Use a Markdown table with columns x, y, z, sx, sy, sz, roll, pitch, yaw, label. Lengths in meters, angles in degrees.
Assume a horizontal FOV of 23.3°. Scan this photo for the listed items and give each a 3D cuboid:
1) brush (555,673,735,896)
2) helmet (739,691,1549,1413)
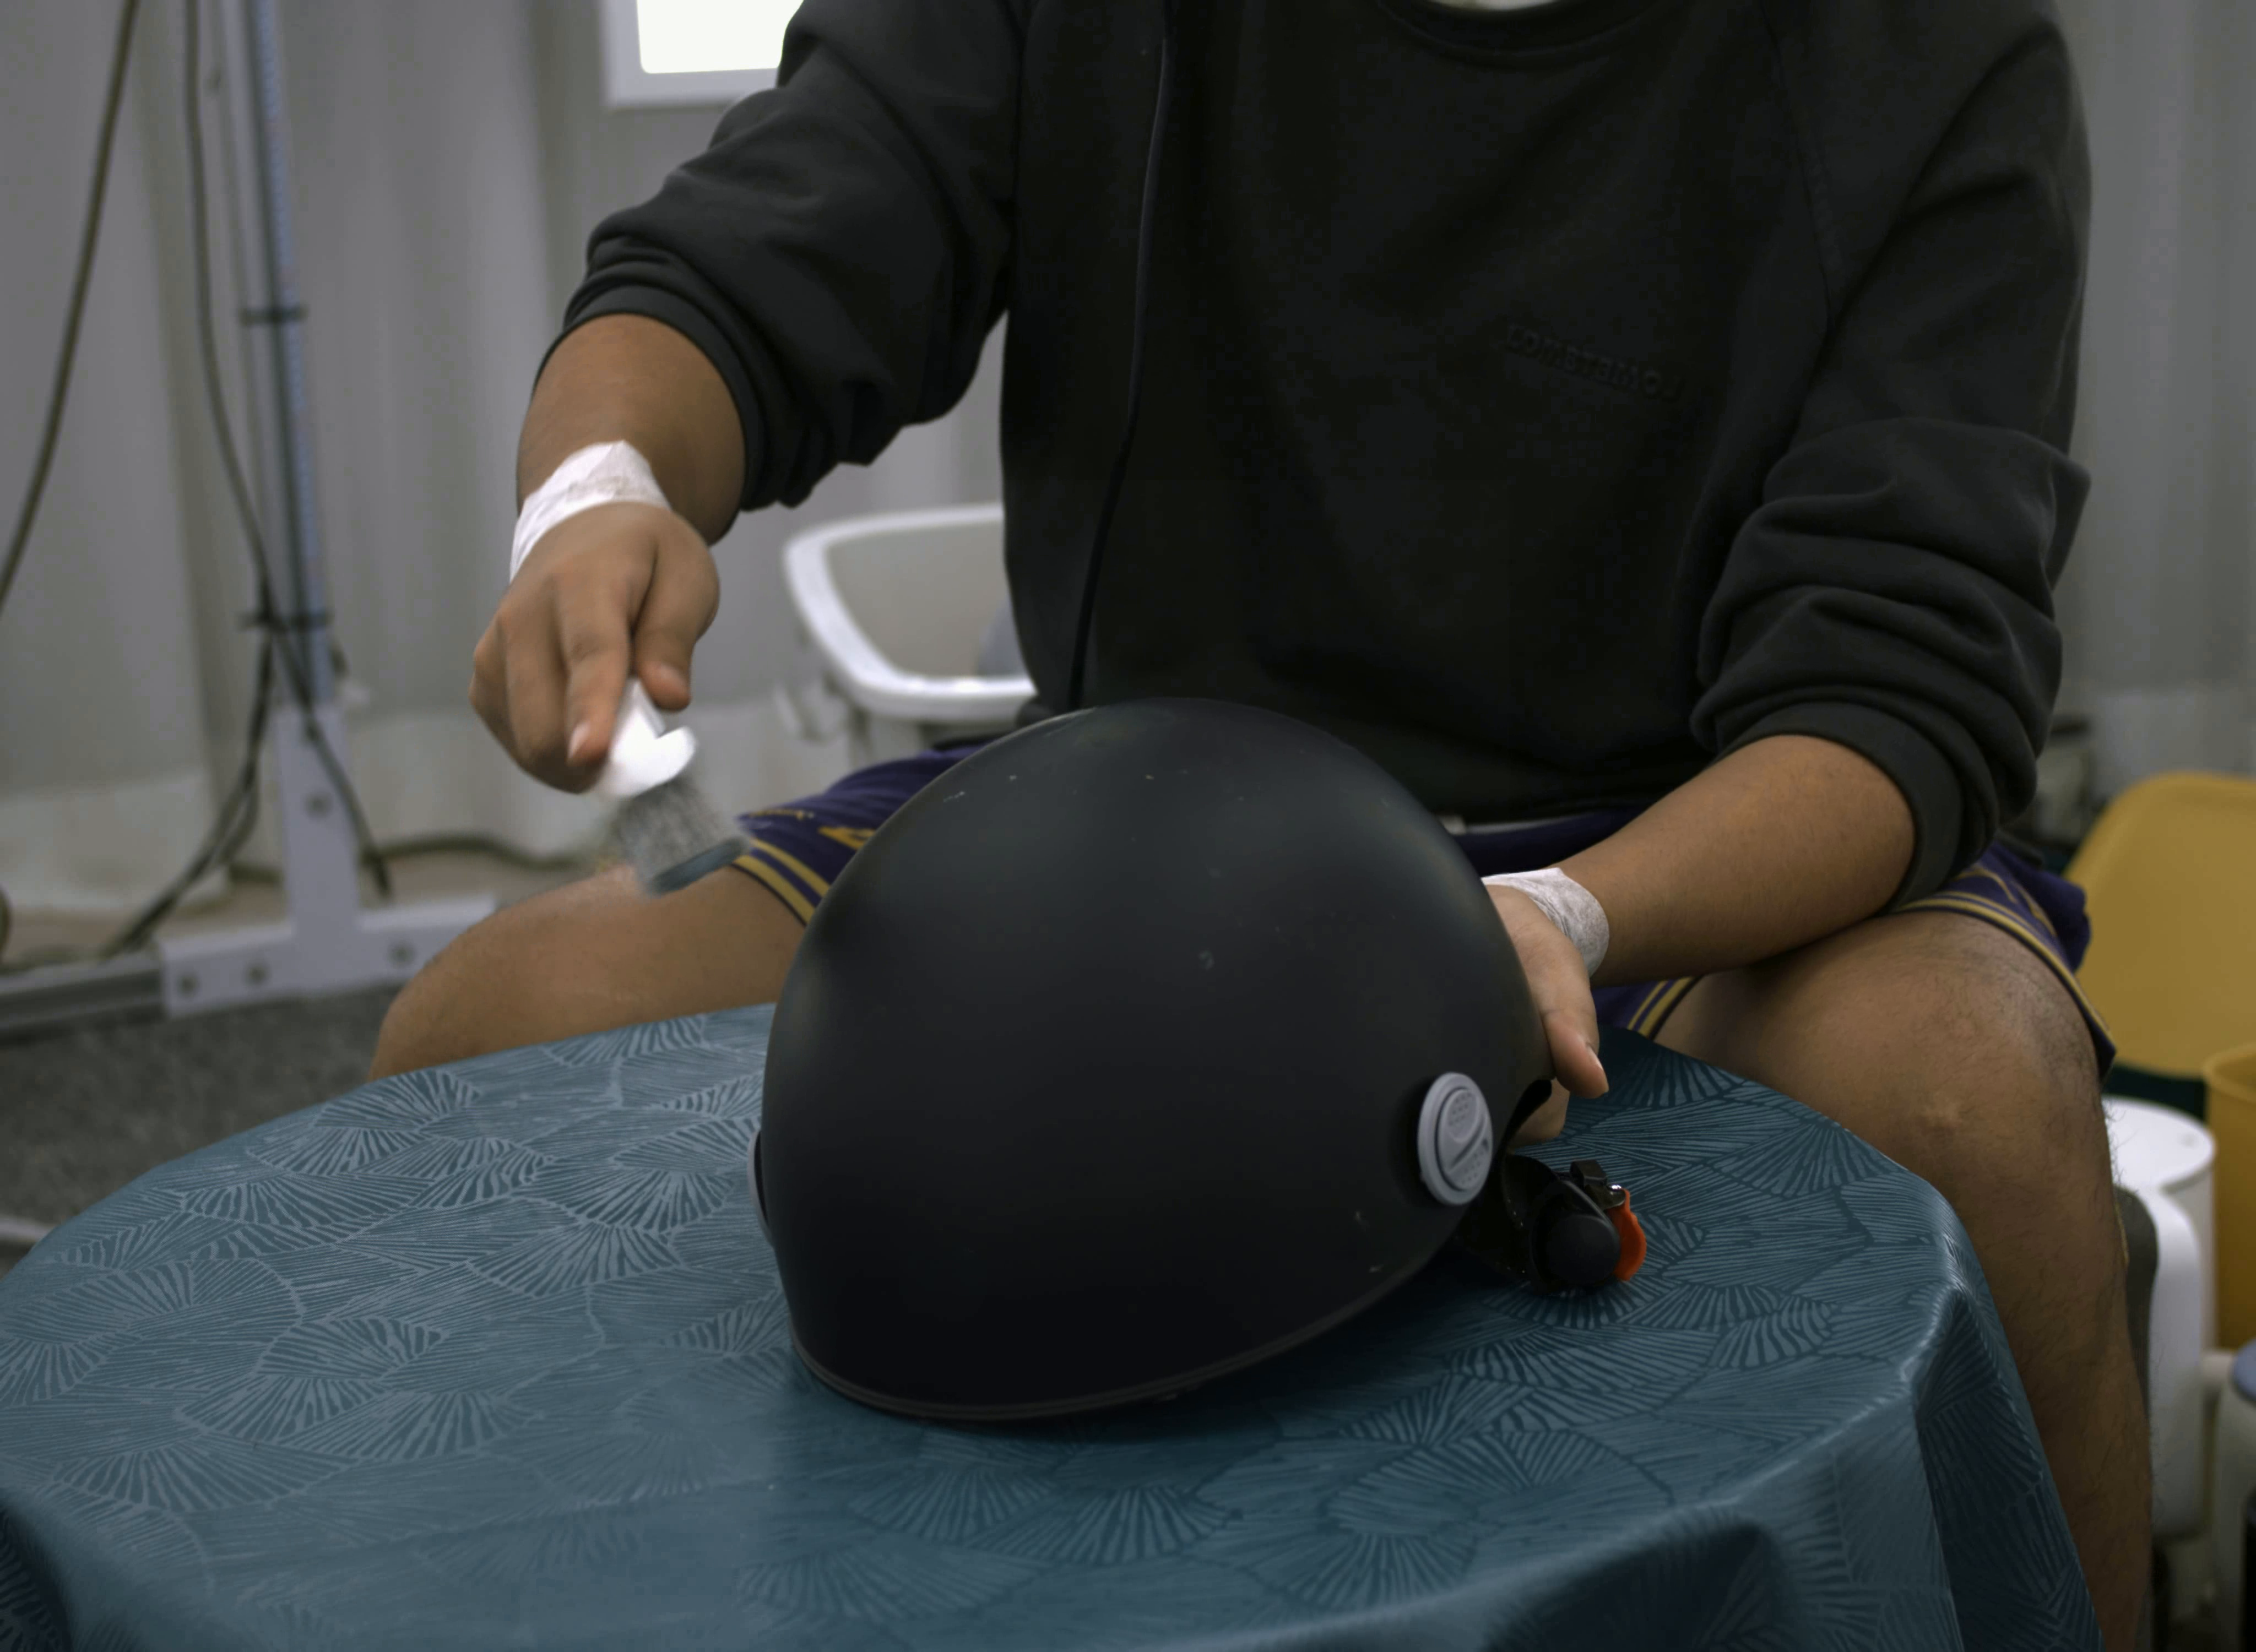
| x | y | z | sx | sy | sz | roll | pitch | yaw | label |
| --- | --- | --- | --- | --- | --- | --- | --- | --- | --- |
| -0.151 | -0.014 | 1.685 | 0.034 | 0.050 | 0.244 | -29 | 10 | -4 | brush |
| -0.003 | 0.052 | 1.613 | 0.230 | 0.166 | 0.274 | -6 | 16 | 26 | helmet |
